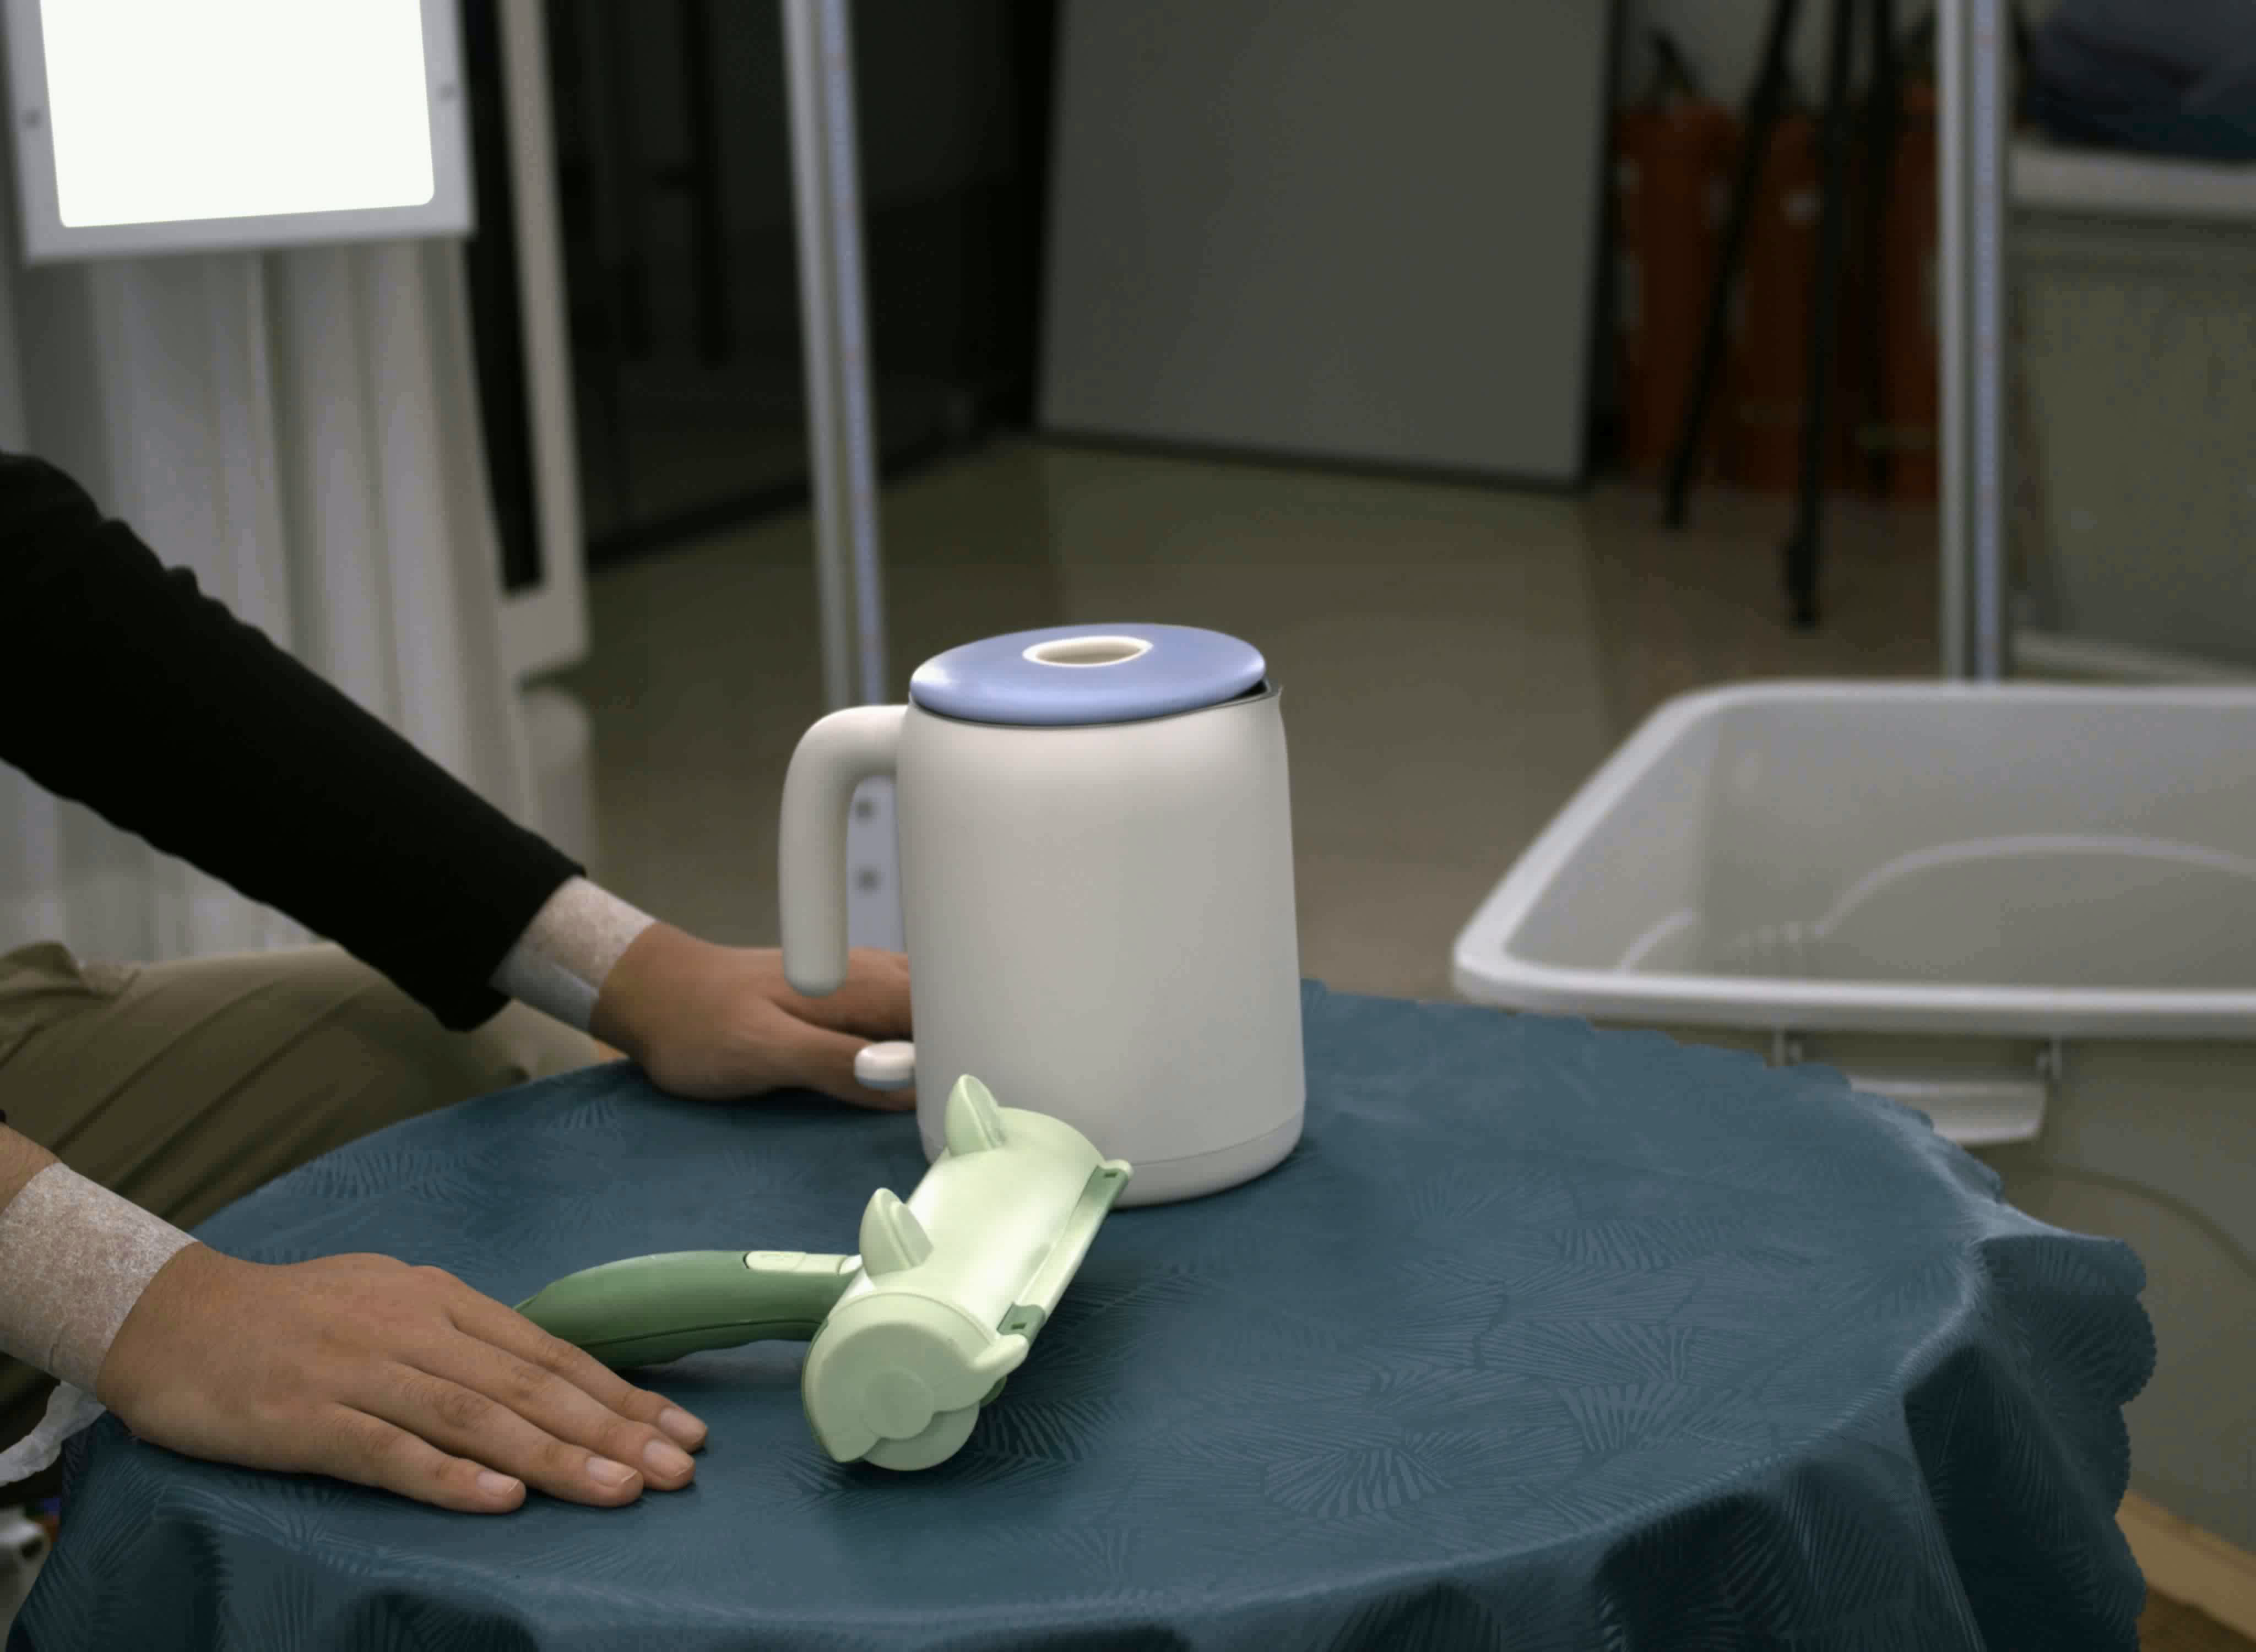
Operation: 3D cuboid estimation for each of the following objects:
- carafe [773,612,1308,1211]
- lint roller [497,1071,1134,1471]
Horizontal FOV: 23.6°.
[{"bbox_3d":[-0.031,0.028,1.798,0.191,0.184,0.131,0,13,23],"label":"carafe"},{"bbox_3d":[-0.102,0.127,1.614,0.182,0.083,0.197,1,13,11],"label":"lint roller"}]
